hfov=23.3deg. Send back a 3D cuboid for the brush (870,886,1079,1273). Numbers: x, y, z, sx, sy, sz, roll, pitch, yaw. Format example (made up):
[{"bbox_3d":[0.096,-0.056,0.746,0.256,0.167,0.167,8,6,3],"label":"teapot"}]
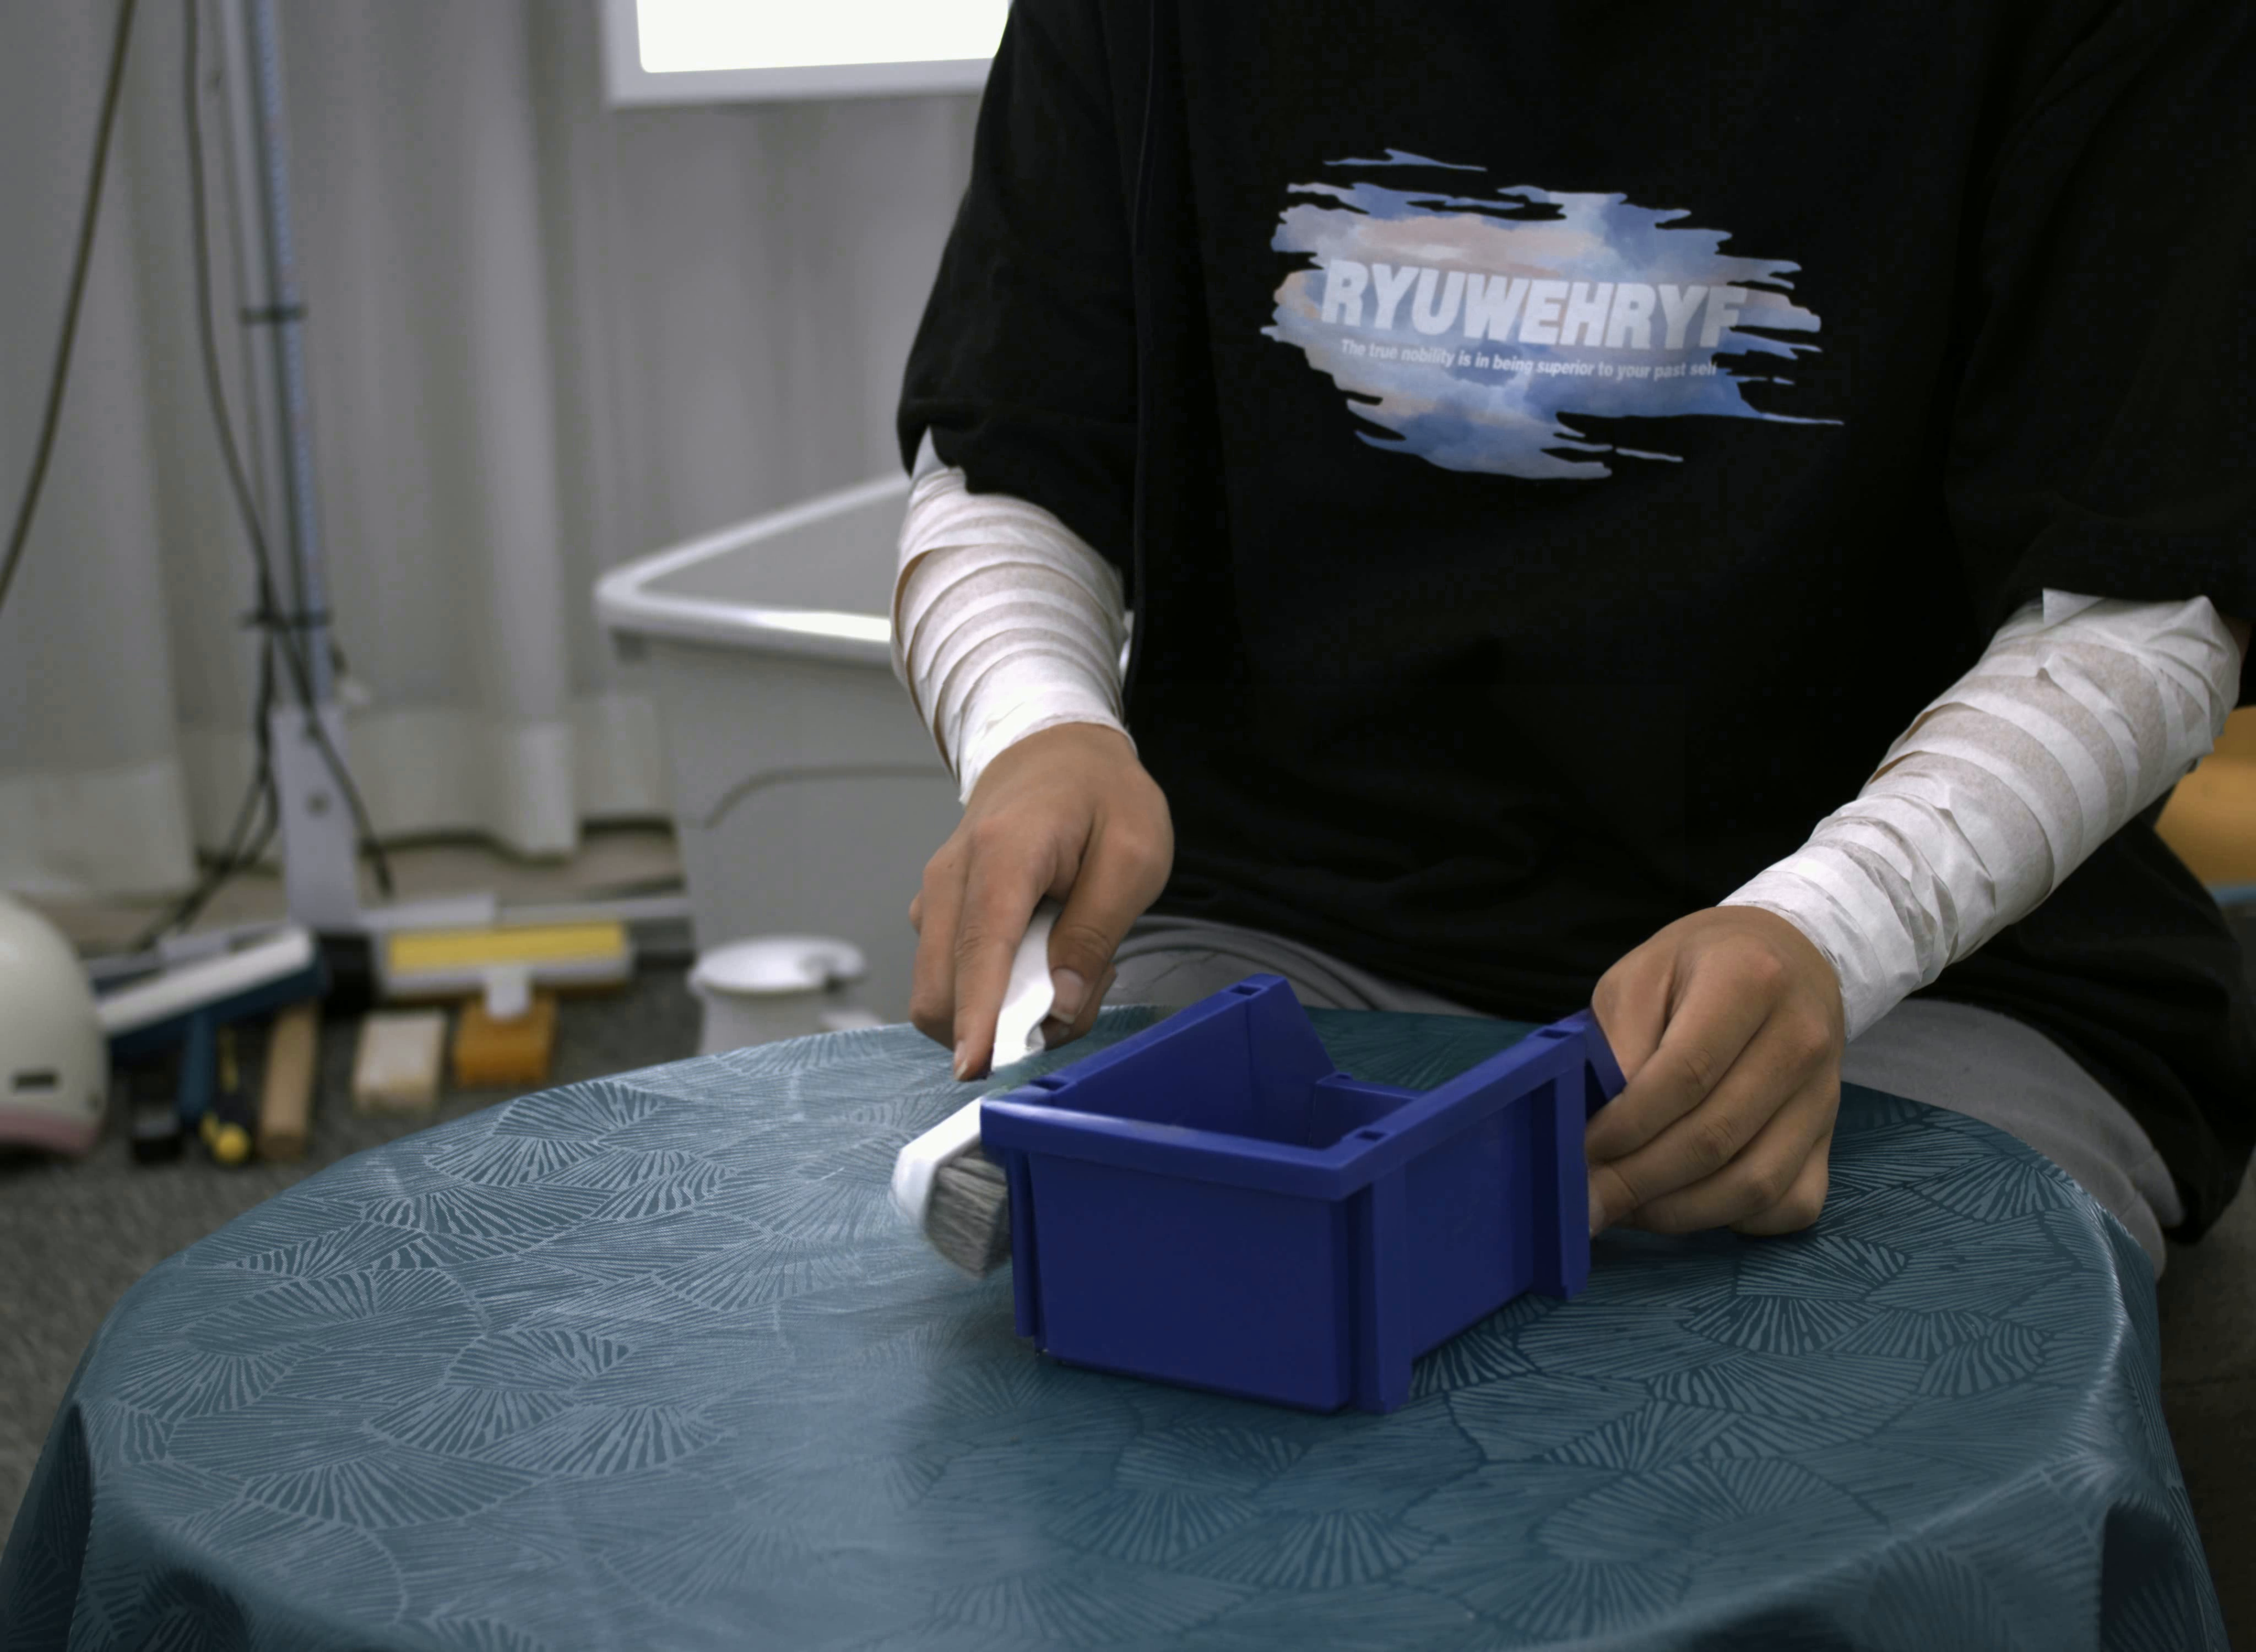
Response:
[{"bbox_3d":[-0.027,0.074,1.678,0.050,0.034,0.245,16,22,7],"label":"brush"}]

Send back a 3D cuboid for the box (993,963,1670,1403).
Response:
[{"bbox_3d":[0.061,0.100,1.600,0.125,0.081,0.179,7,18,34],"label":"box"}]
